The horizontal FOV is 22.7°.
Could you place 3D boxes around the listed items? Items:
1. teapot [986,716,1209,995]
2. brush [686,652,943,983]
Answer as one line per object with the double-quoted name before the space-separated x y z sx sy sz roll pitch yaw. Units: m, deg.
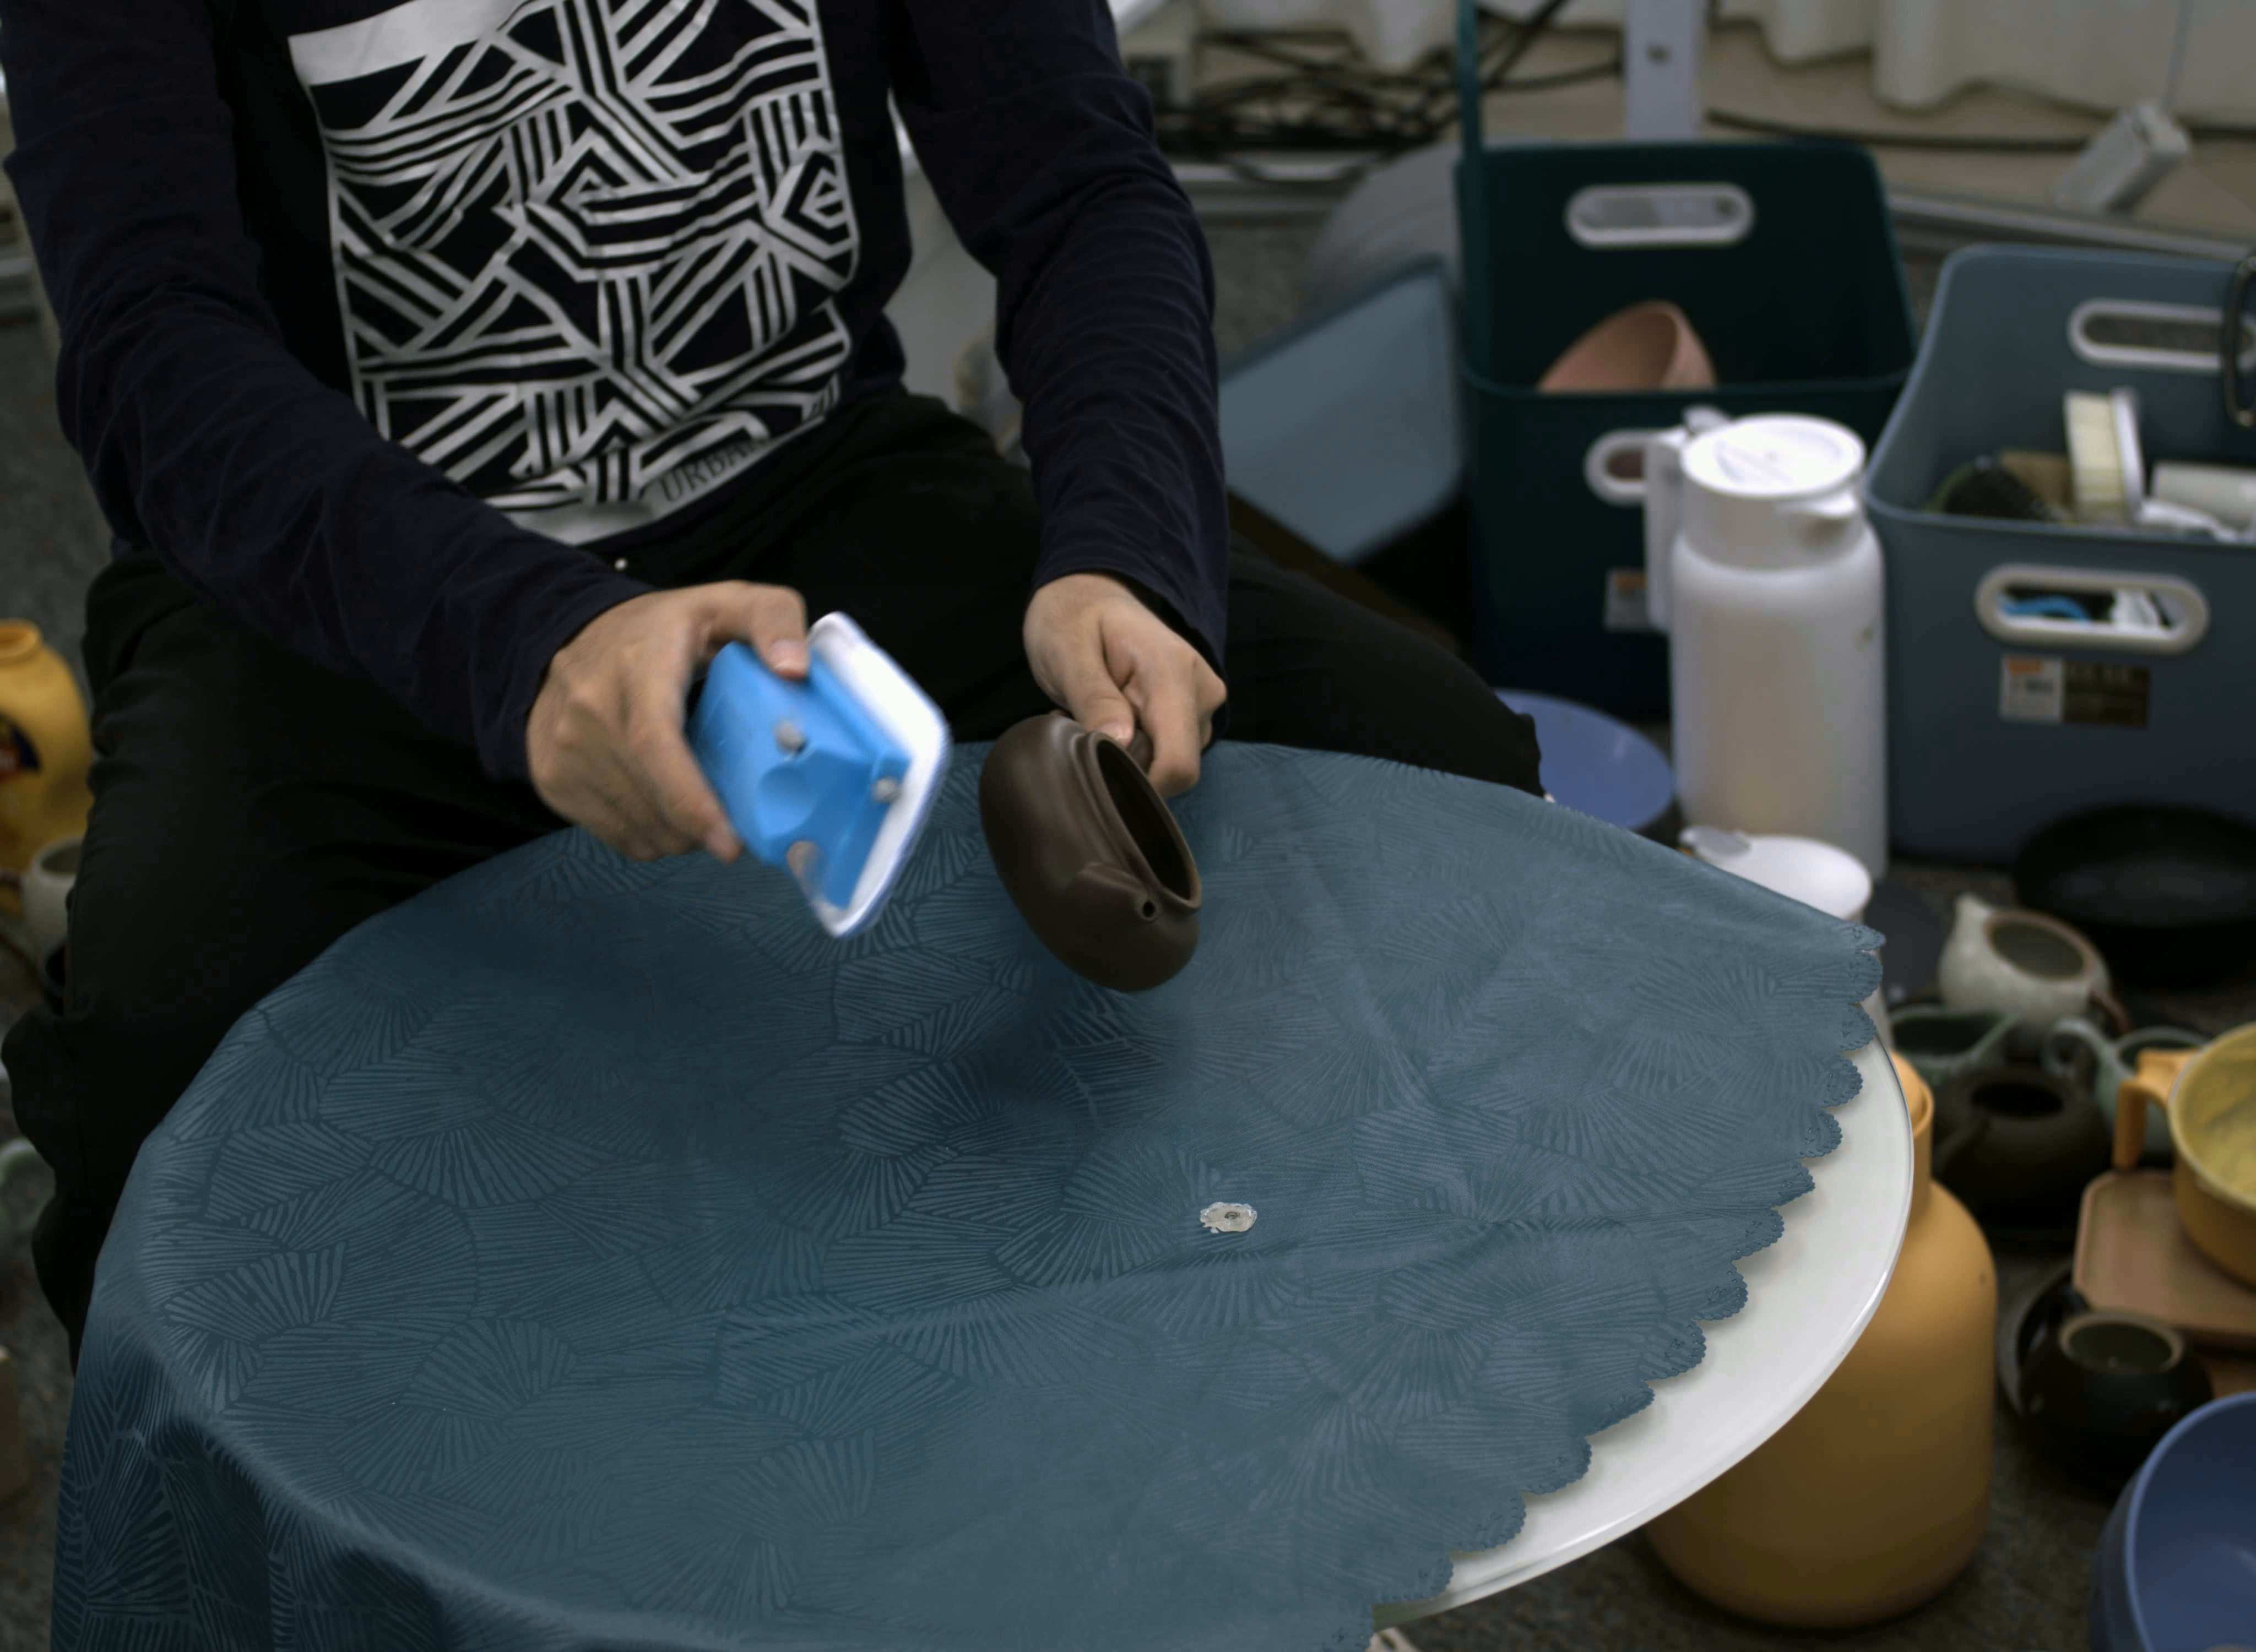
"teapot" -0.009 0.007 1.924 0.053 0.102 0.156 -30 26 14
"brush" -0.110 -0.009 1.866 0.055 0.083 0.145 27 12 -26
